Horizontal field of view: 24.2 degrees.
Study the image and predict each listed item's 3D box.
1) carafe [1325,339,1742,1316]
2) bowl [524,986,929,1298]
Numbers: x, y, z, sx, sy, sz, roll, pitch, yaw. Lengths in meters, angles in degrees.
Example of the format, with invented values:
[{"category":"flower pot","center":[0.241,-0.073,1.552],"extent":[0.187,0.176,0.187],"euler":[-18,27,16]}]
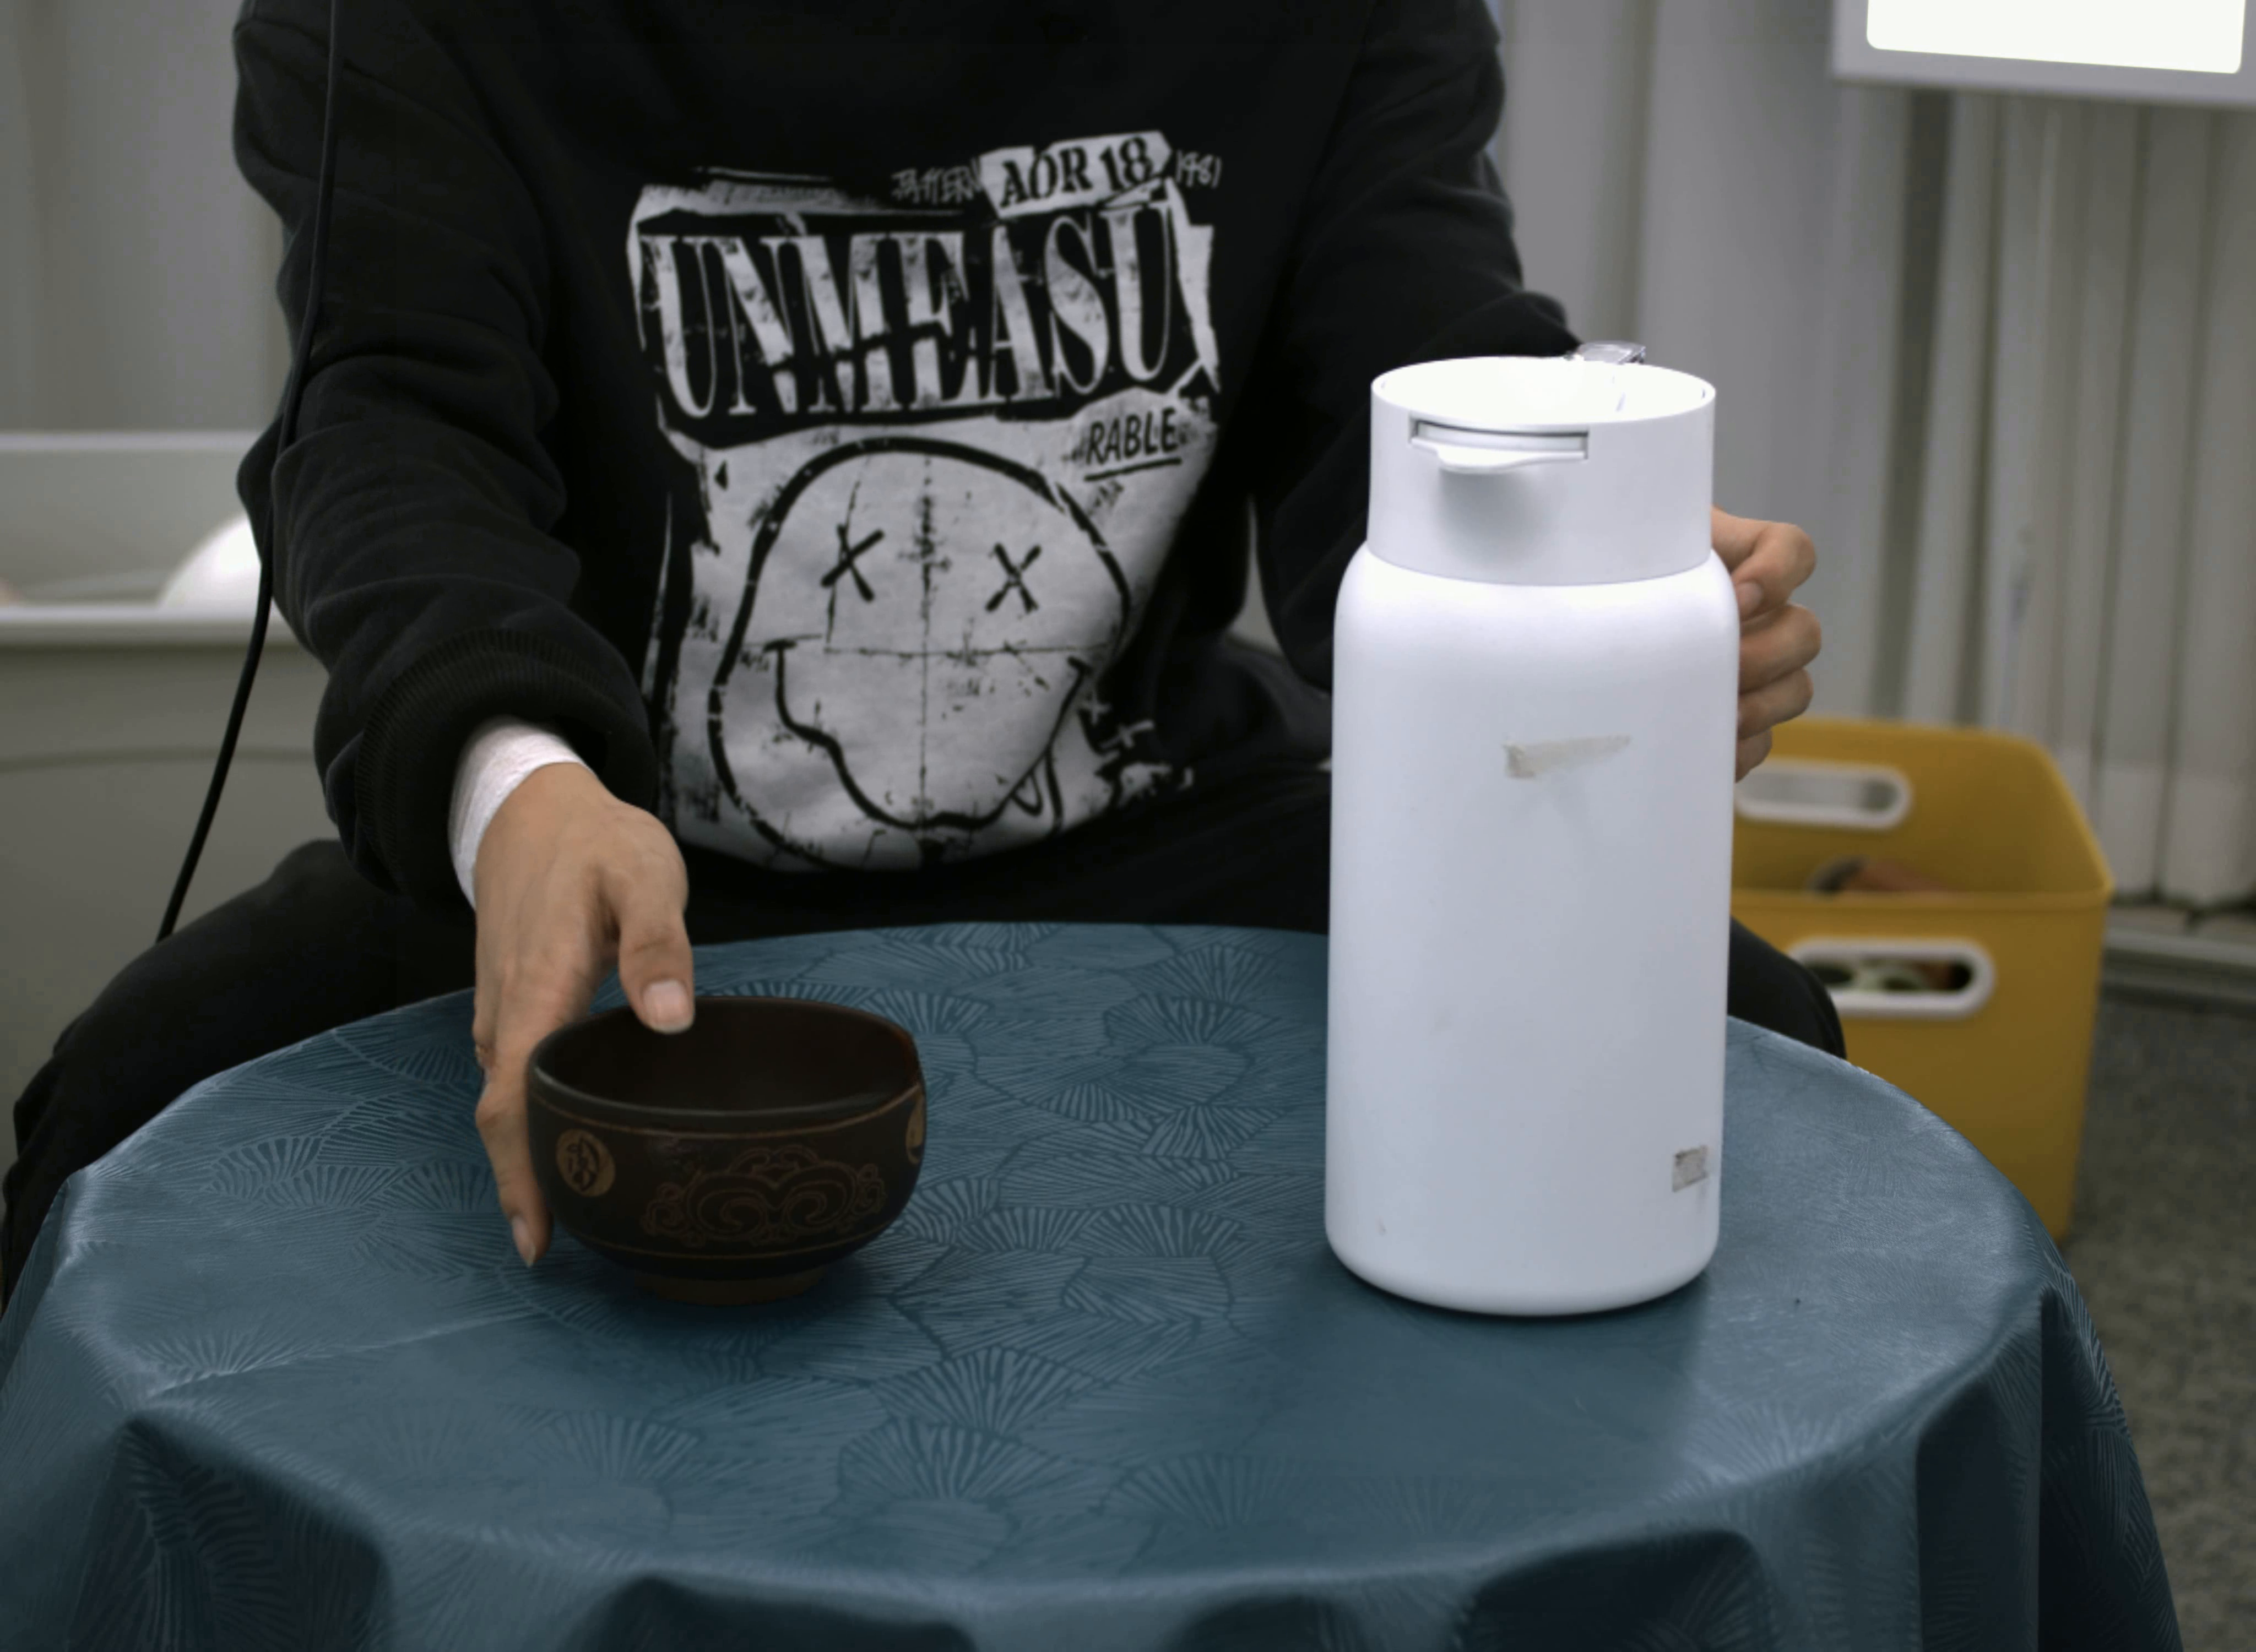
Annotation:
[{"category":"carafe","center":[0.122,-0.004,1.545],"extent":[0.122,0.271,0.173],"euler":[4,17,20]},{"category":"bowl","center":[-0.117,0.096,1.539],"extent":[0.117,0.070,0.117],"euler":[1,15,0]}]
